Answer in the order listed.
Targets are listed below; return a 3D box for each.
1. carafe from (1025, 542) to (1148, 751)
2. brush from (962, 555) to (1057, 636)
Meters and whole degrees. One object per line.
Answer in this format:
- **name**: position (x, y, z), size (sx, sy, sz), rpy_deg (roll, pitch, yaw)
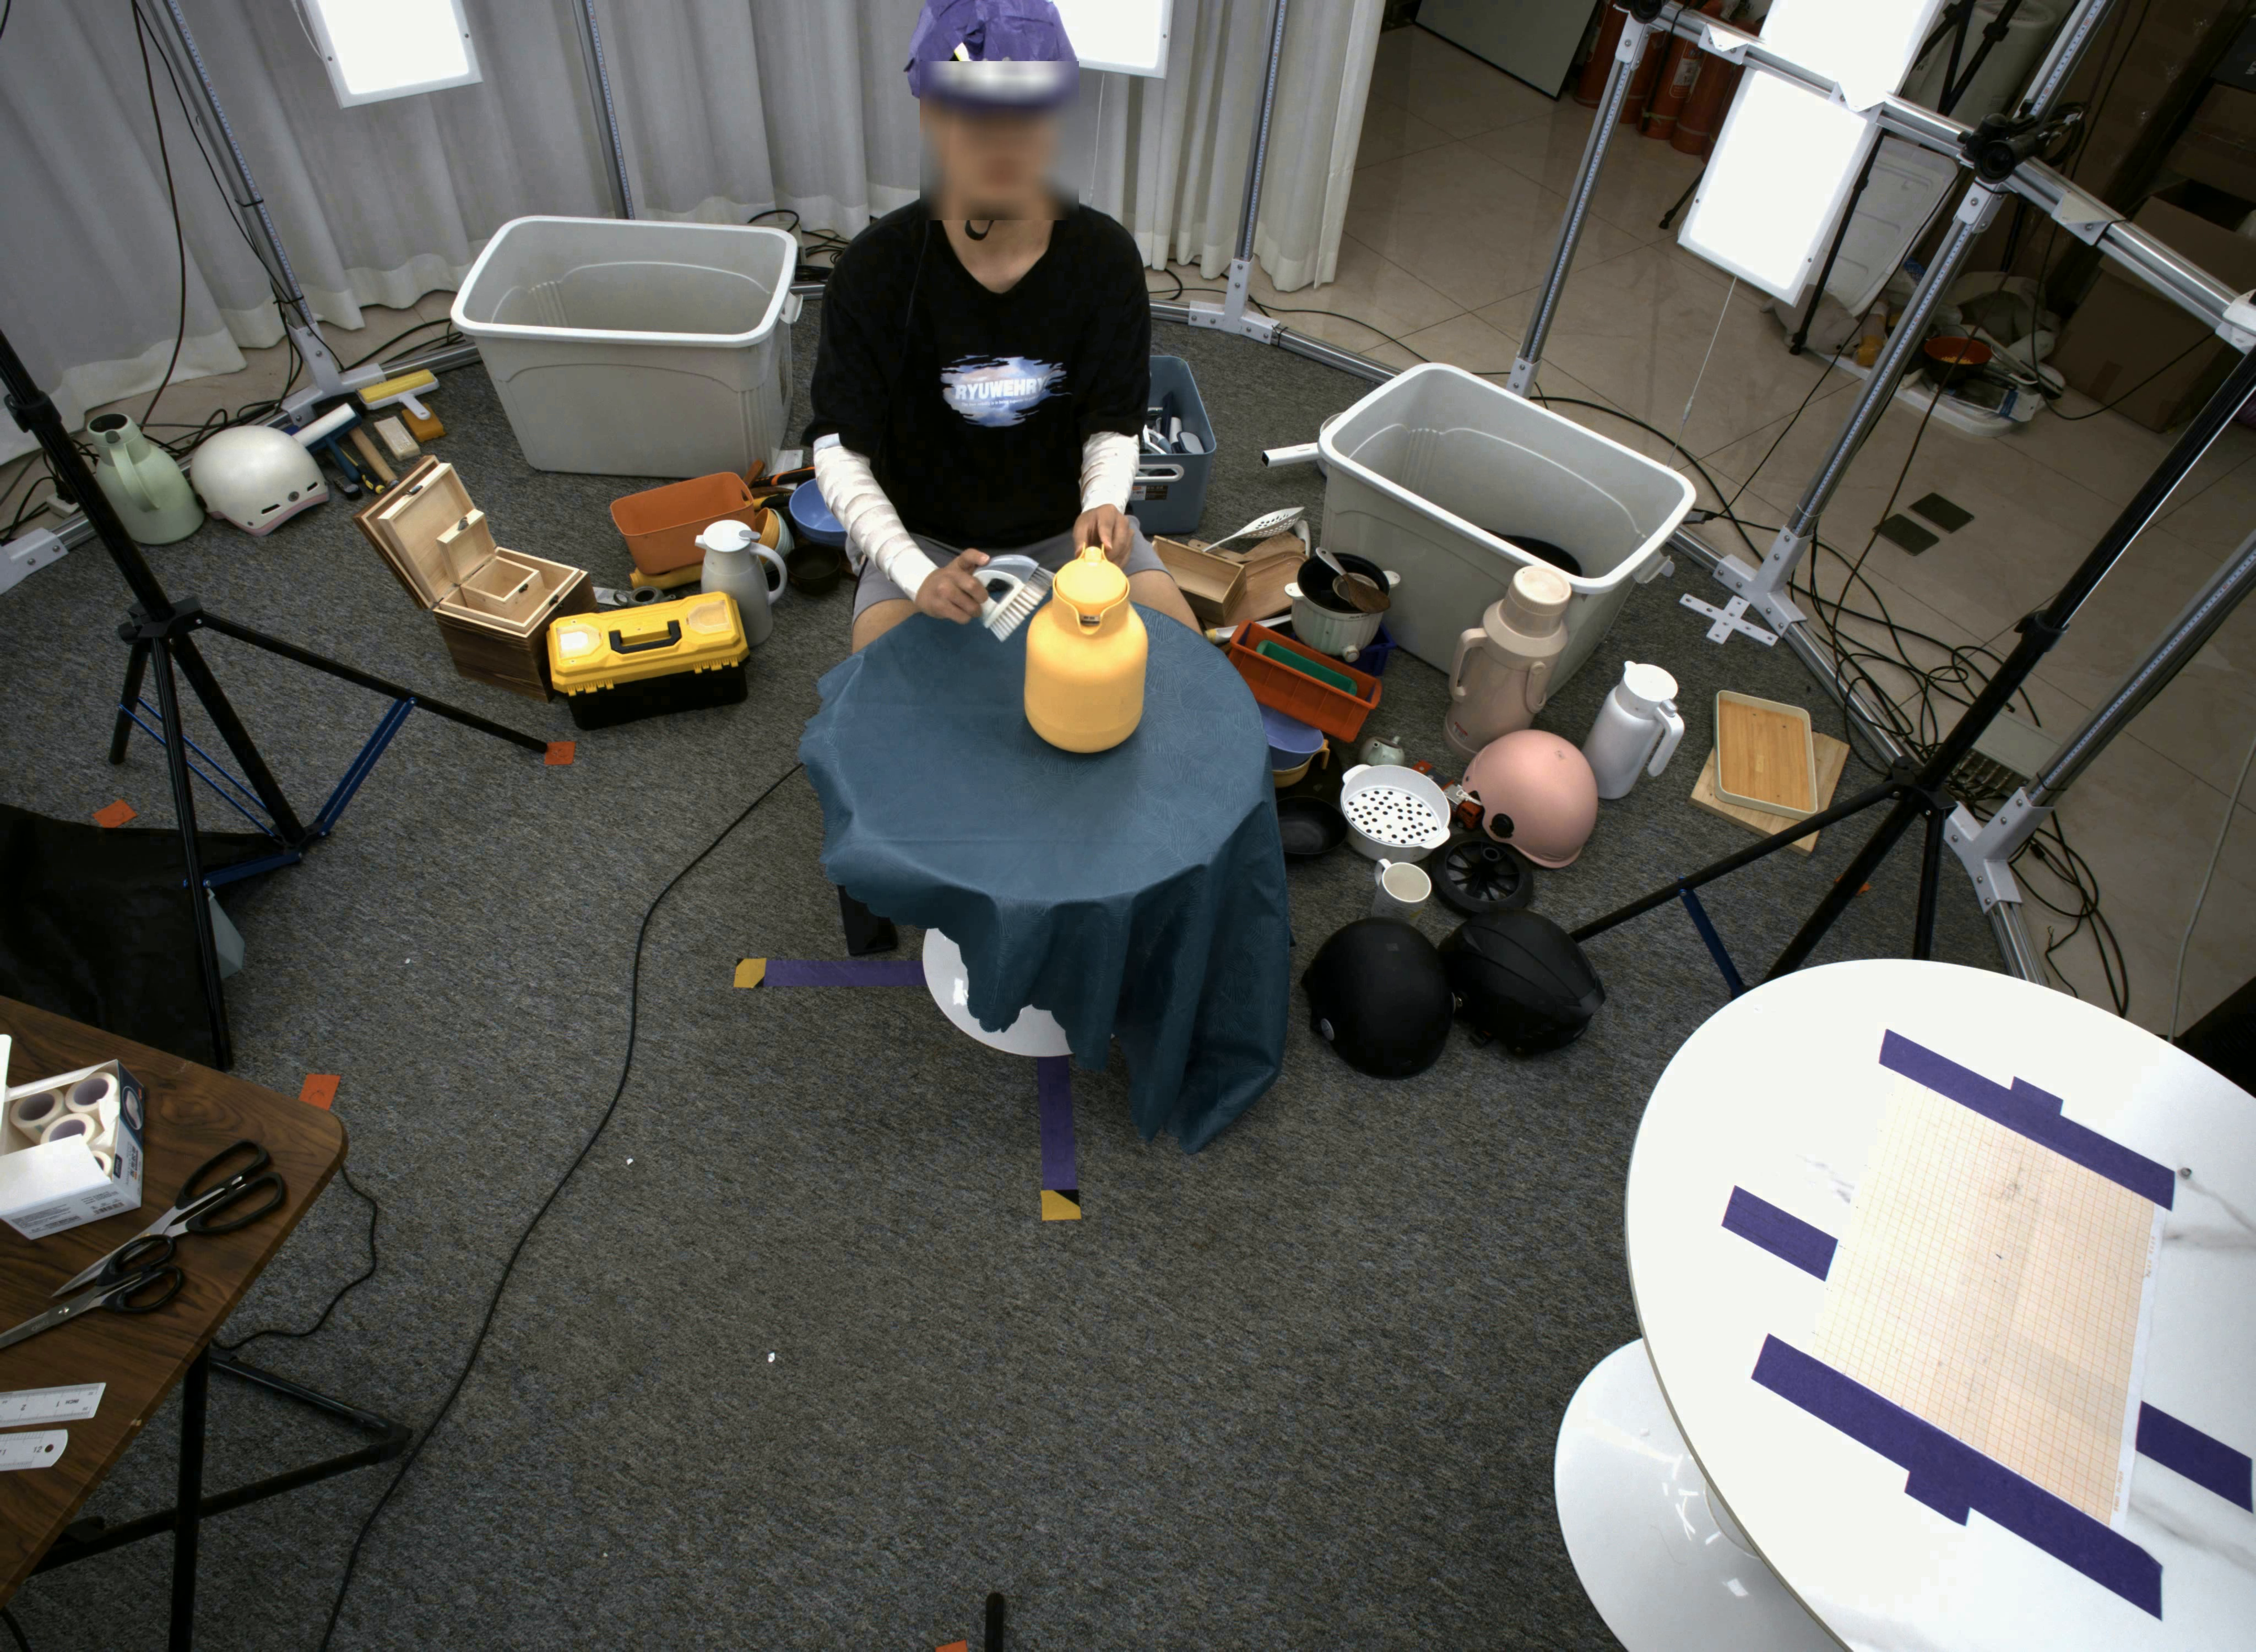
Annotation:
- **carafe**: position (-0.052, -0.246, 1.715), size (0.163, 0.254, 0.207), rpy_deg (6, 51, -1)
- **brush**: position (-0.161, -0.319, 1.698), size (0.093, 0.174, 0.062), rpy_deg (33, 65, -17)
